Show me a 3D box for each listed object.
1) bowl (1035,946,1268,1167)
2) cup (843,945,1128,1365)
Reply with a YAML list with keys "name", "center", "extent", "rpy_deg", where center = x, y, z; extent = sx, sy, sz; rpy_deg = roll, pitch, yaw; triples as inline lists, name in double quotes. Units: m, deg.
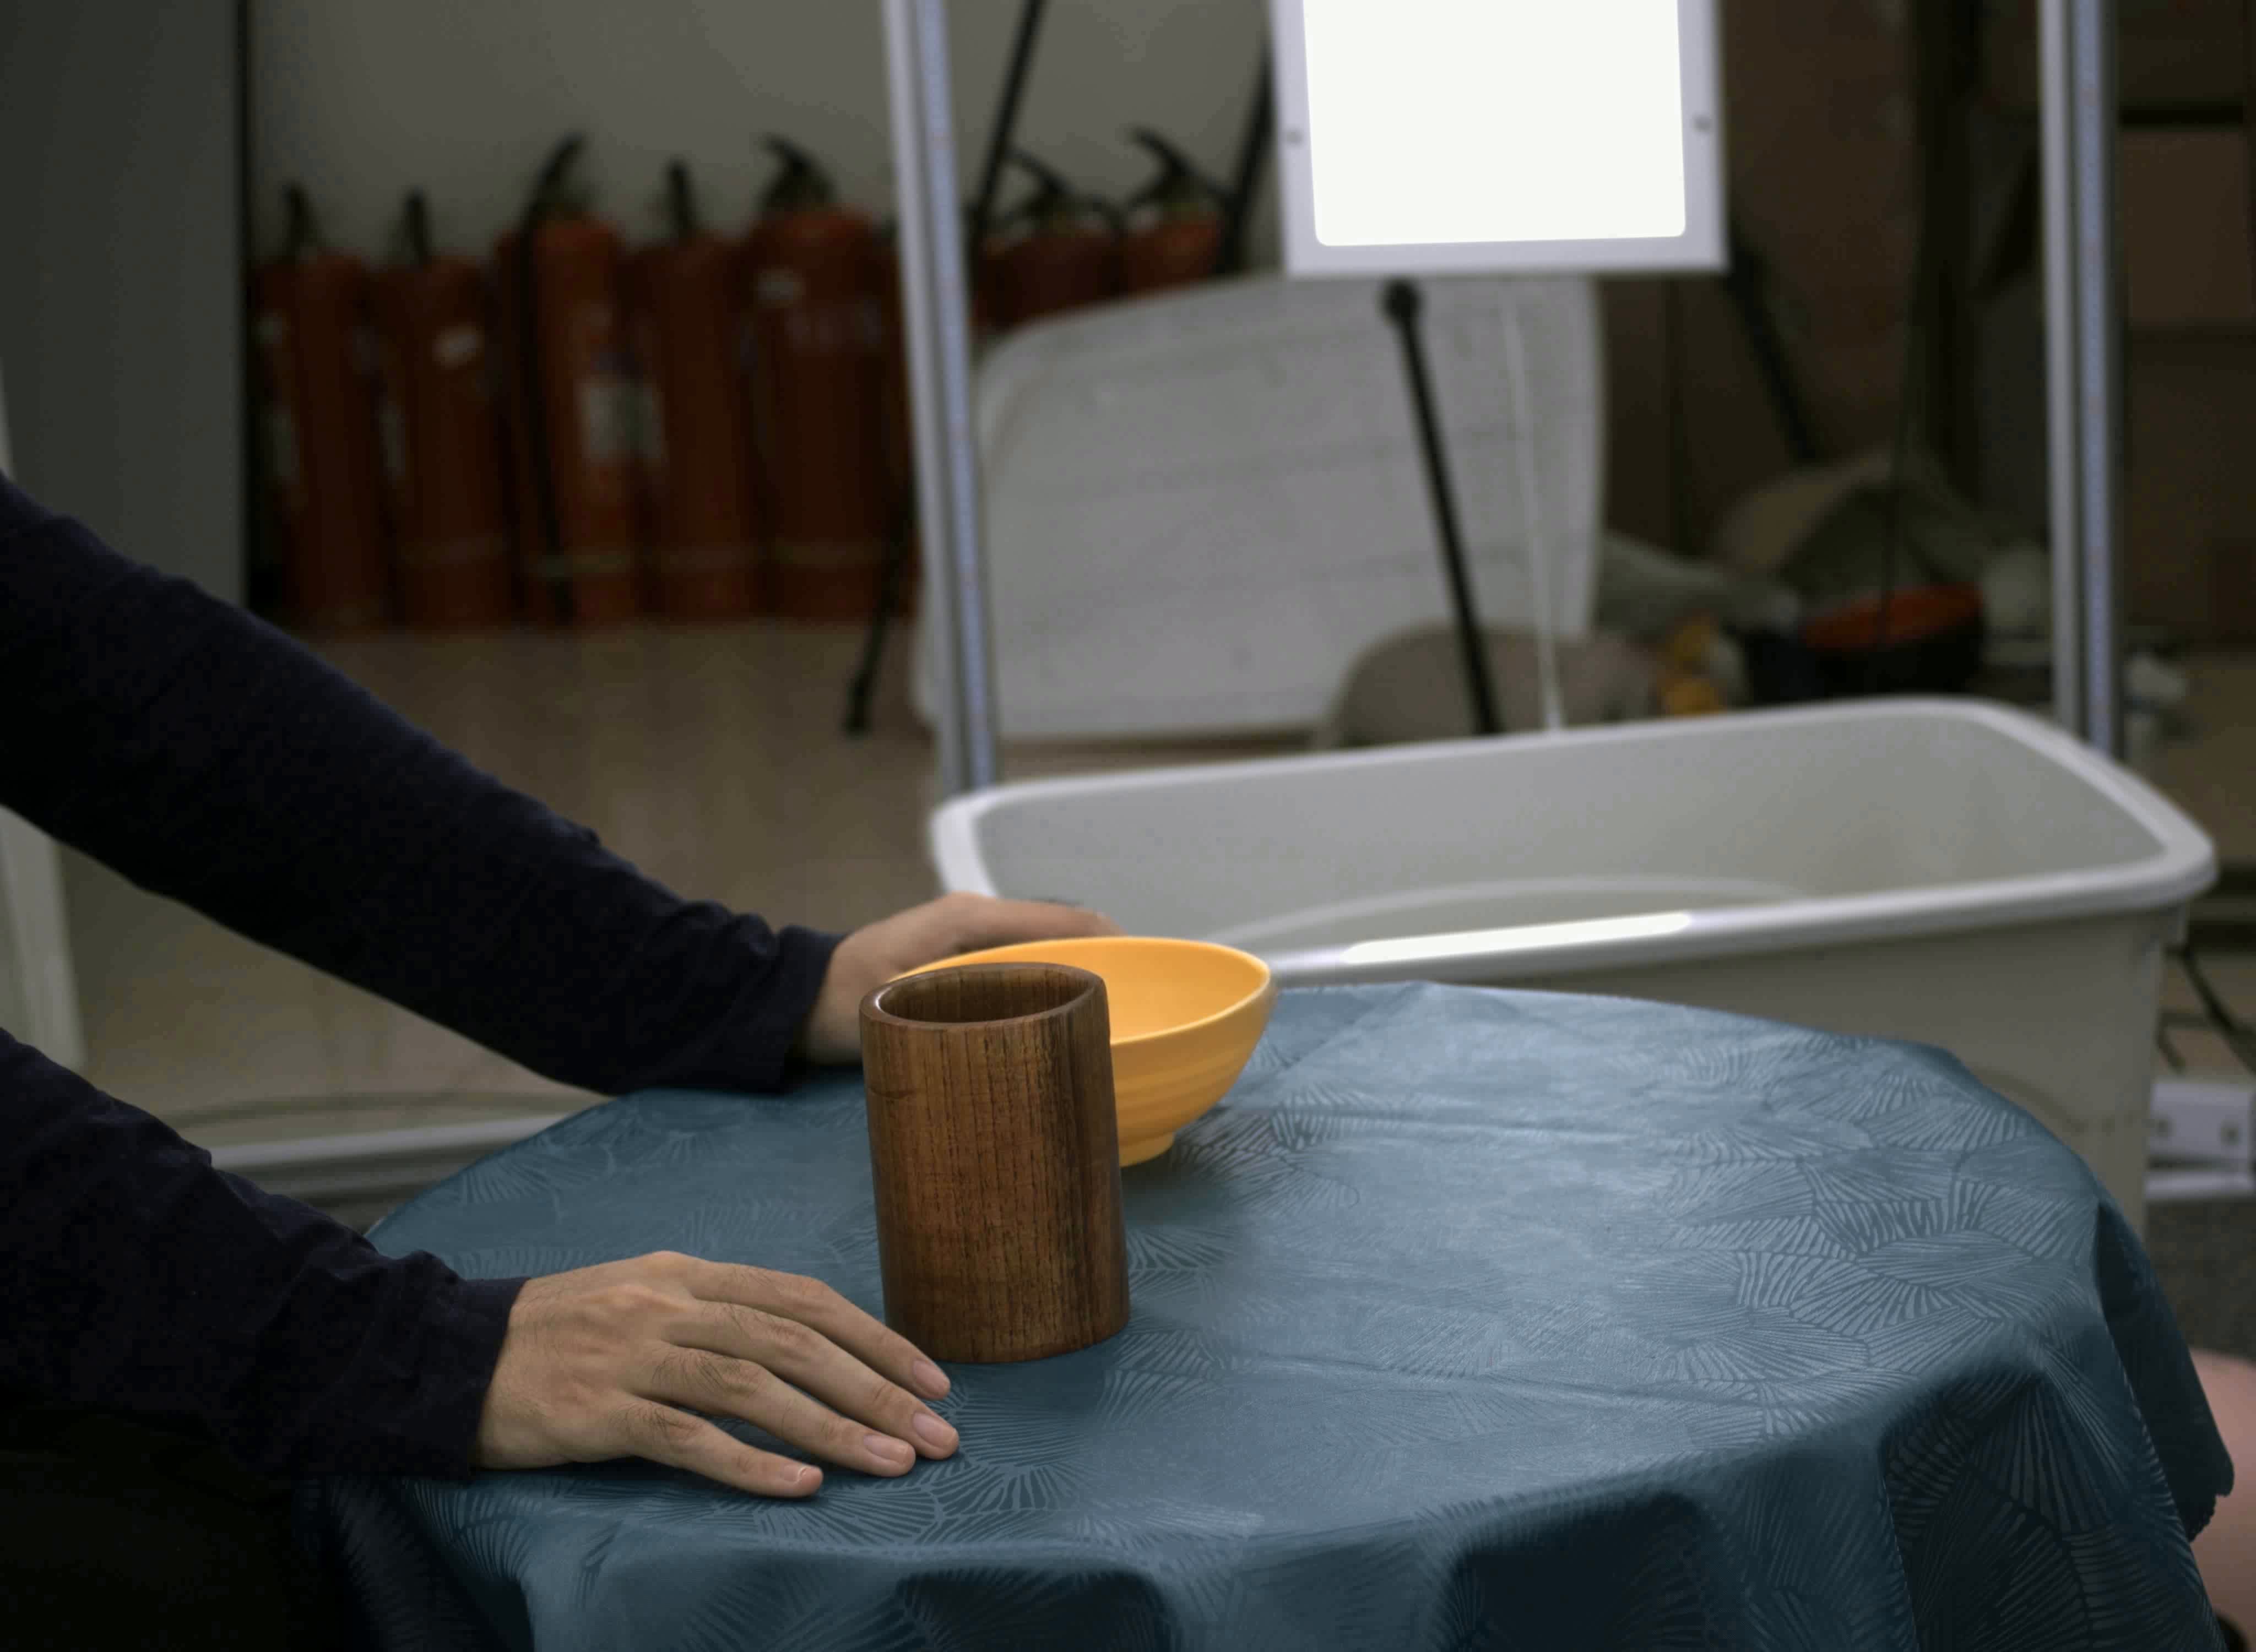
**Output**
- name: "bowl"
  center: [-0.018, 0.088, 1.949]
  extent: [0.145, 0.060, 0.145]
  rpy_deg: [-7, 13, 0]
- name: "cup"
  center: [-0.044, 0.104, 1.759]
  extent: [0.087, 0.119, 0.087]
  rpy_deg: [-5, 12, 0]
